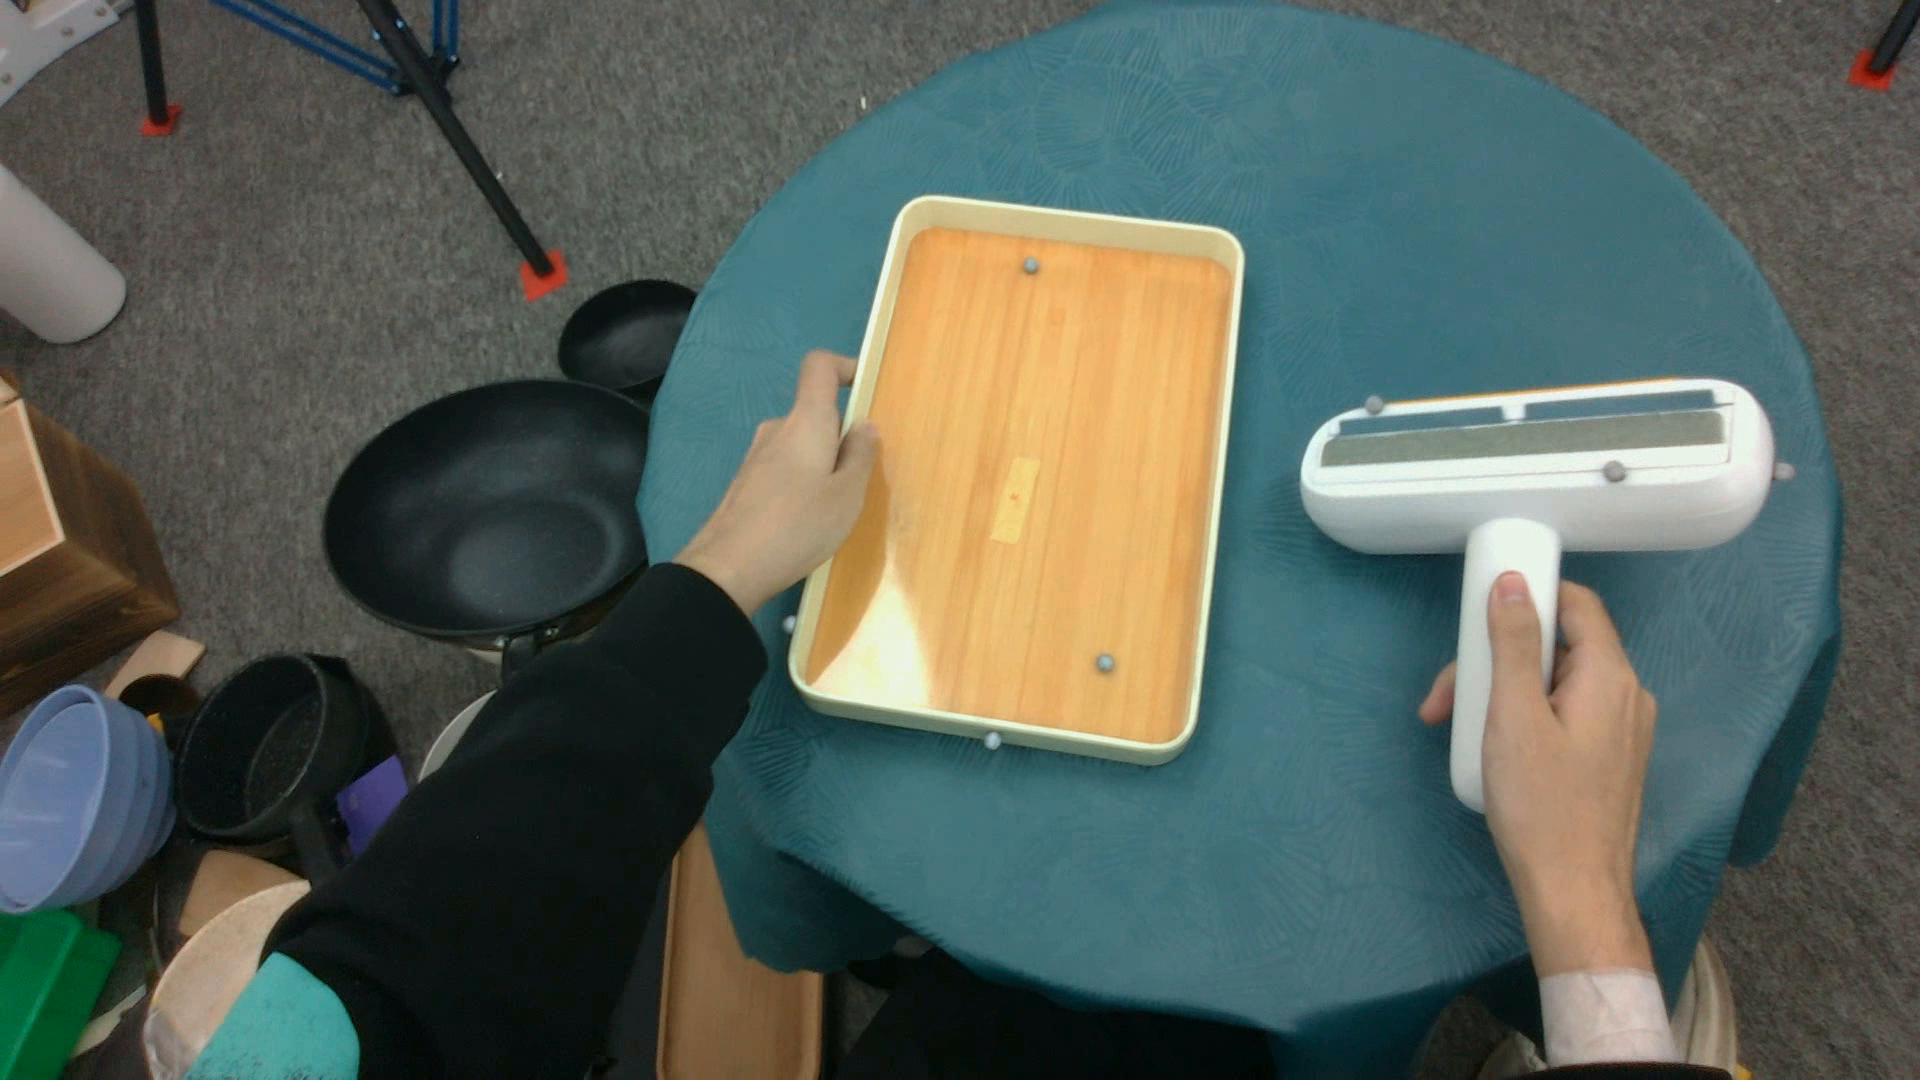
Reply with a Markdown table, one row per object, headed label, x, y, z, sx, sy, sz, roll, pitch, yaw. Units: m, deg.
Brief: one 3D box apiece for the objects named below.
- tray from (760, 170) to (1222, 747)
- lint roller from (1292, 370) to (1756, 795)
| label | x | y | z | sx | sy | sz | roll | pitch | yaw |
| --- | --- | --- | --- | --- | --- | --- | --- | --- | --- |
| tray | 0.024 | -0.054 | 0.693 | 0.191 | 0.027 | 0.301 | 9 | 64 | 4 |
| lint roller | 0.227 | 0.013 | 0.594 | 0.192 | 0.074 | 0.193 | 5 | 60 | 33 |
